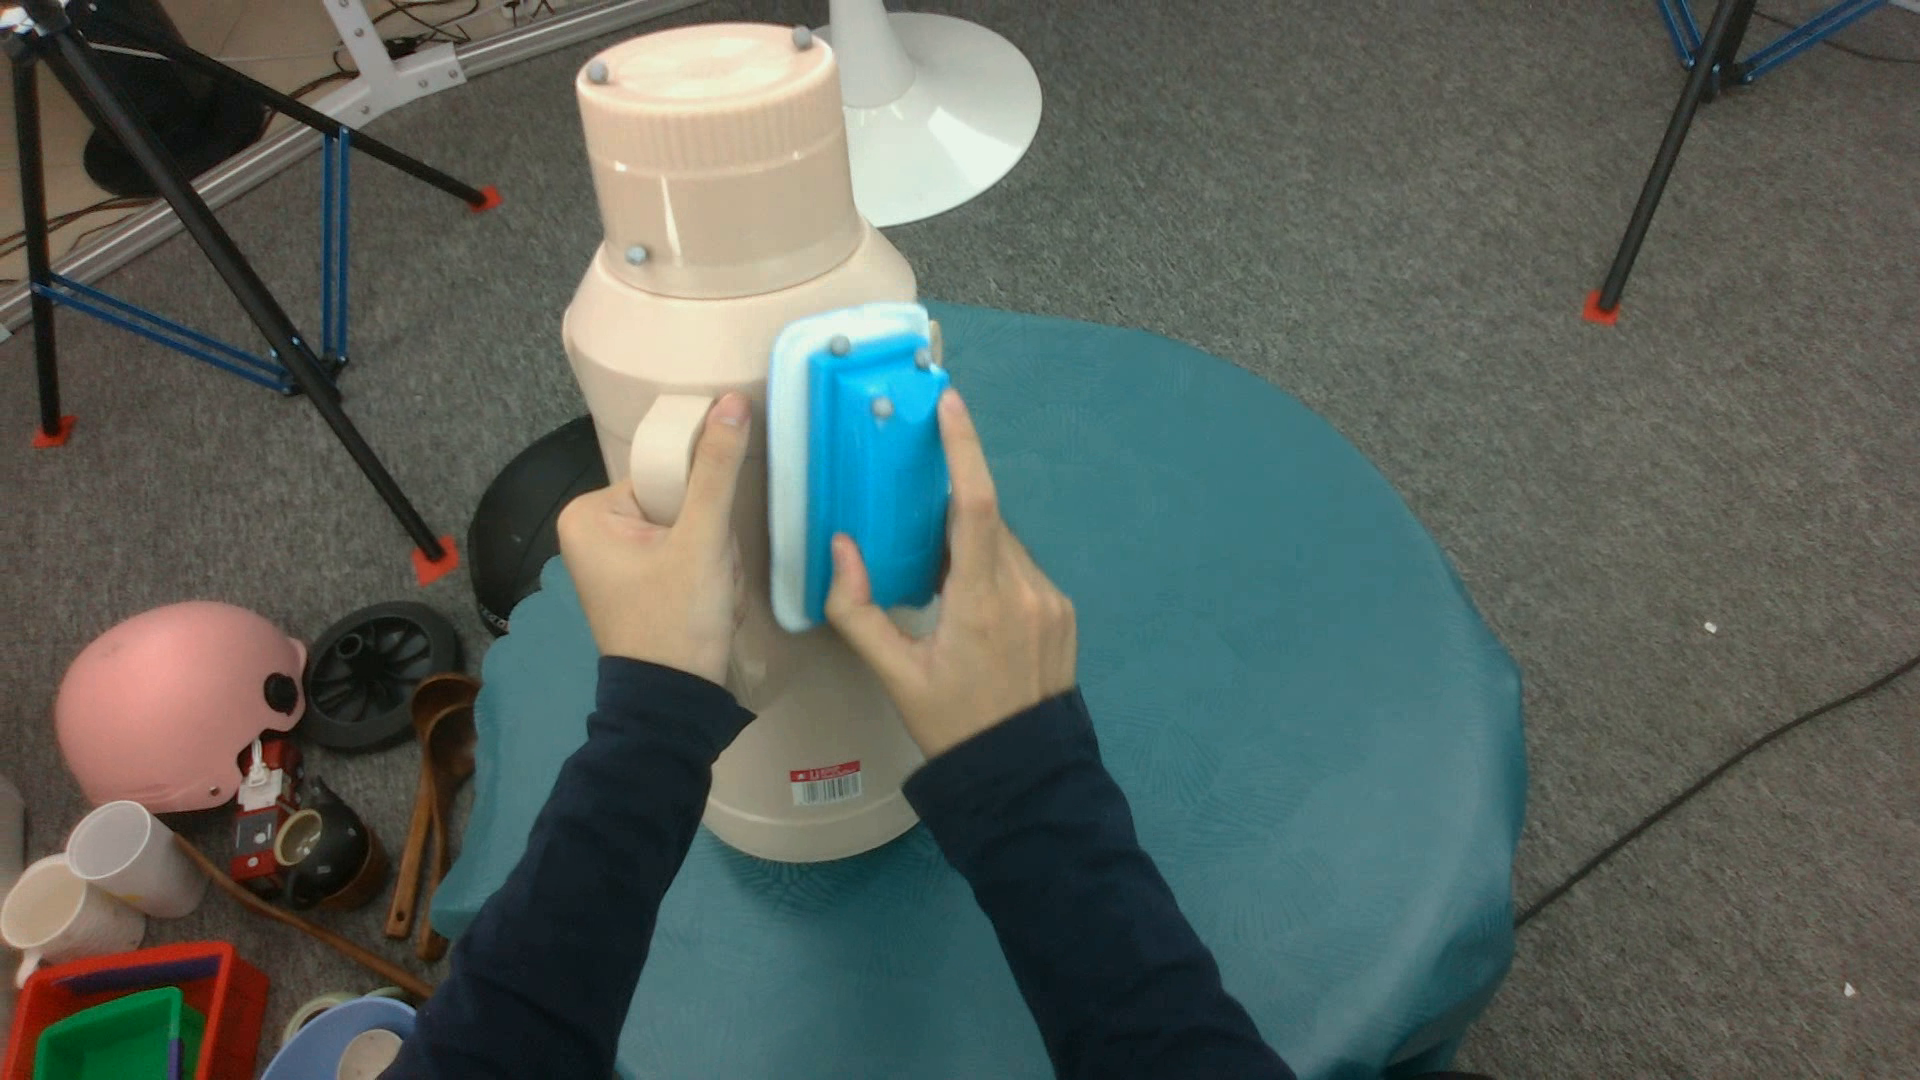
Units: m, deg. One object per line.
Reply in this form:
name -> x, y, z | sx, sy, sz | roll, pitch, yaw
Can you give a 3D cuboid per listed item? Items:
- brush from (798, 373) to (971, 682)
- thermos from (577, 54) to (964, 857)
brush -> -0.025, 0.000, 0.608 | 0.084, 0.143, 0.056 | -13, 27, -34
thermos -> -0.094, -0.019, 0.689 | 0.175, 0.404, 0.208 | 4, 38, 10
